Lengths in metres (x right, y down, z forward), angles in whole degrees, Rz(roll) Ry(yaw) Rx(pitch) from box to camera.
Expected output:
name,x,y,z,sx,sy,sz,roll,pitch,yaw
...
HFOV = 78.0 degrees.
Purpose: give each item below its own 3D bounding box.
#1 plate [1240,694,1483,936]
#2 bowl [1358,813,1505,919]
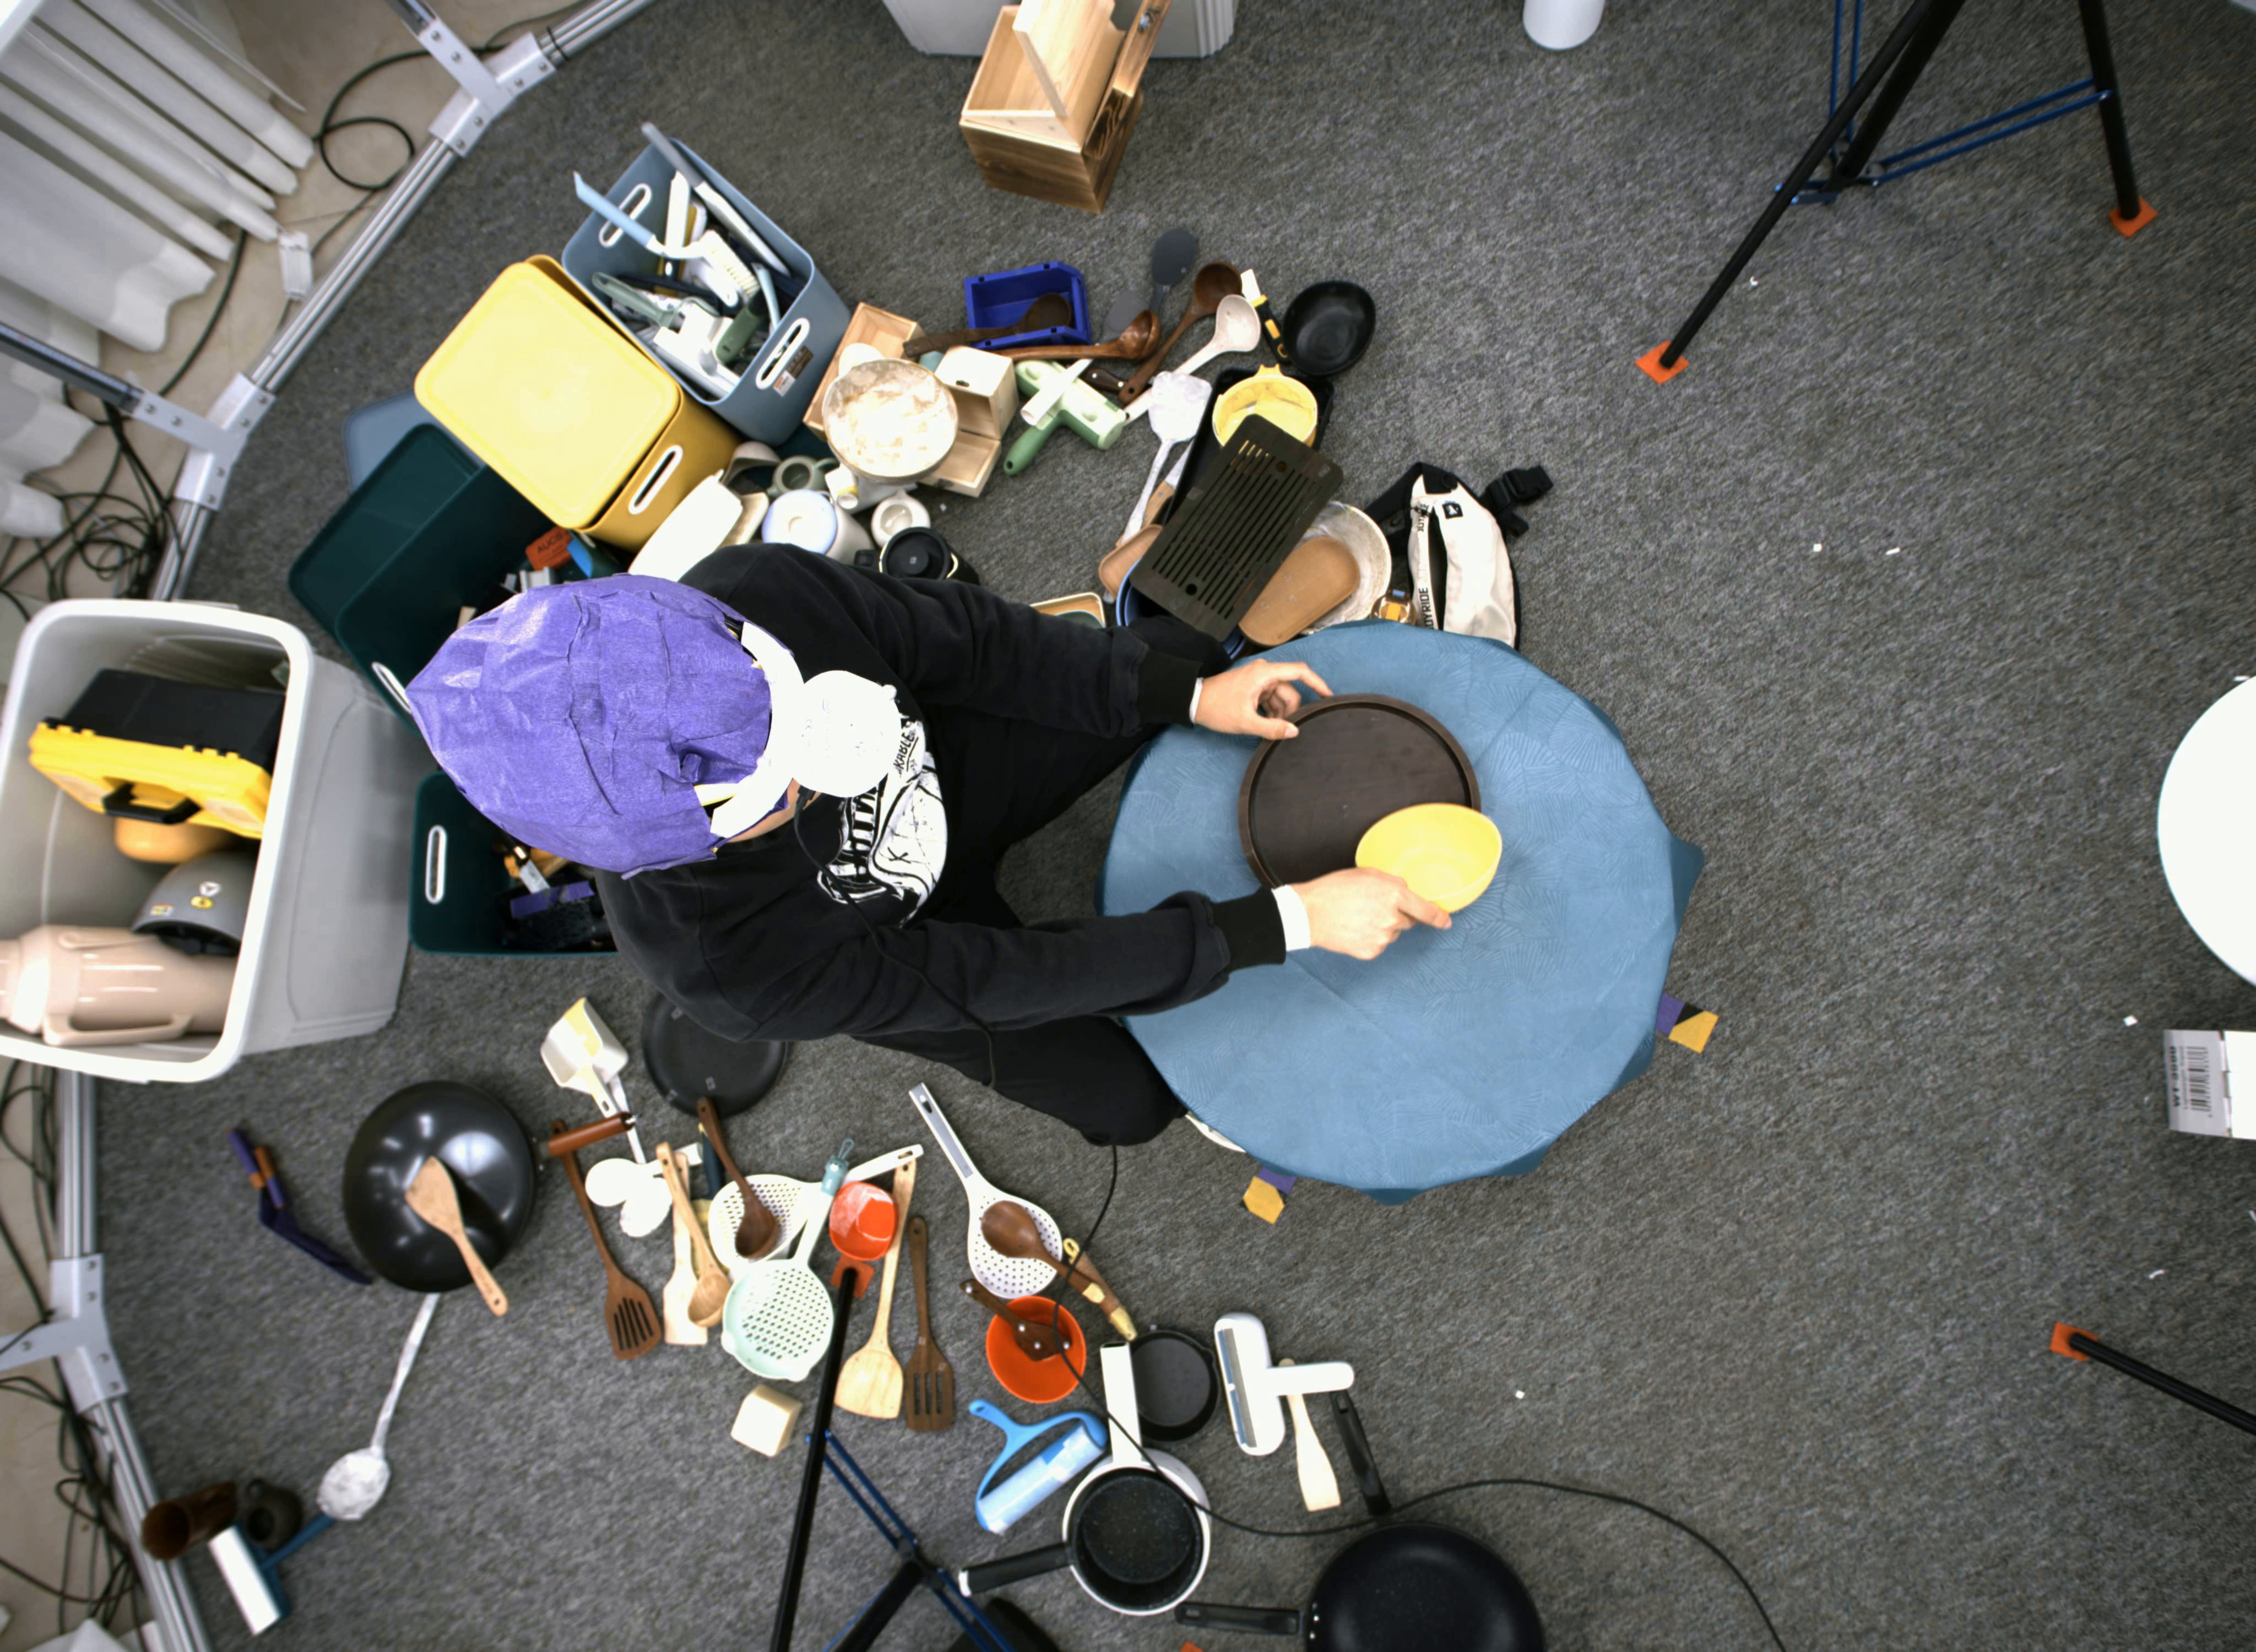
name,x,y,z,sx,sy,sz,roll,pitch,yaw
plate,0.244,-0.012,1.447,0.255,0.029,0.256,1,96,7
bowl,0.308,0.050,1.389,0.146,0.141,0.061,-11,125,9
